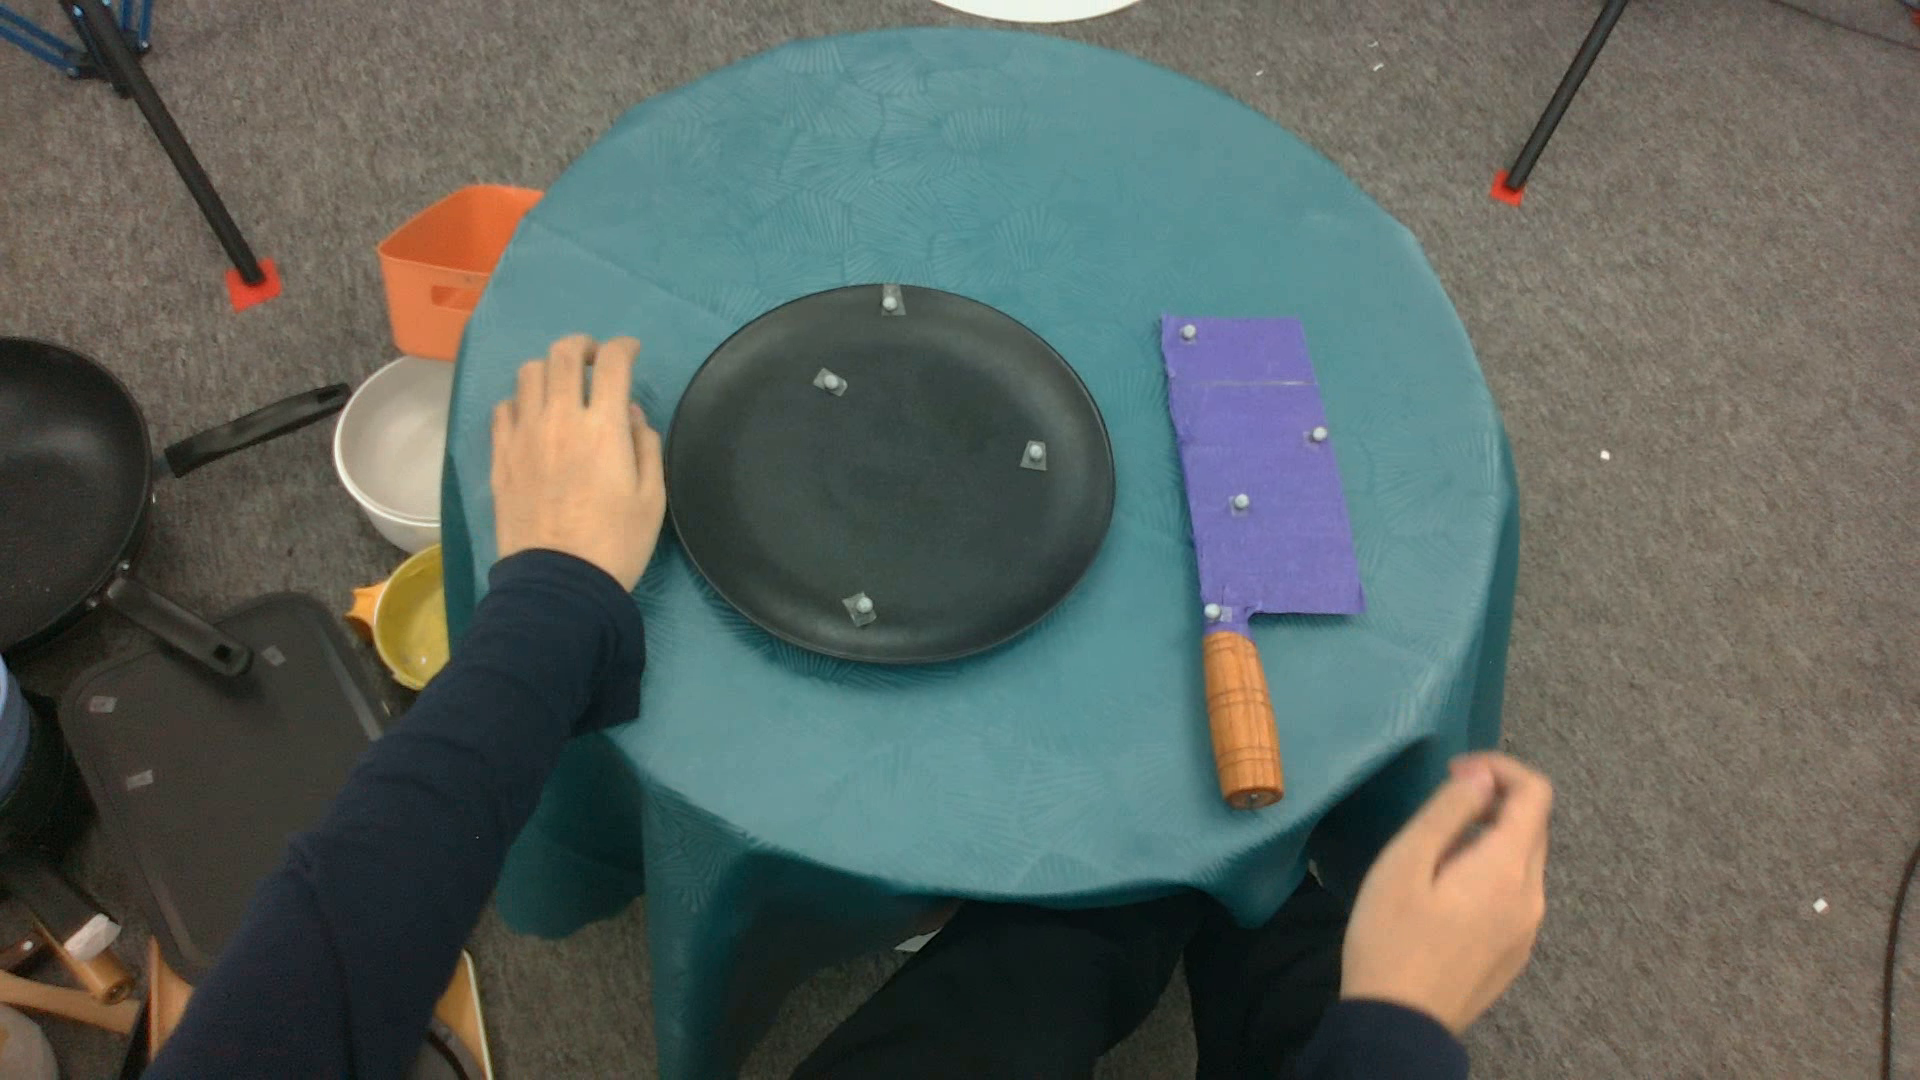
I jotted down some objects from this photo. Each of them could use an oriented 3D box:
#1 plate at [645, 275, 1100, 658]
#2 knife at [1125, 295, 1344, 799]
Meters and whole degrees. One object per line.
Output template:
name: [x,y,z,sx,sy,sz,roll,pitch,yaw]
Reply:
plate: [-0.046,-0.044,0.747,0.244,0.023,0.245,3,60,-5]
knife: [0.159,-0.013,0.754,0.104,0.032,0.316,0,60,-7]
